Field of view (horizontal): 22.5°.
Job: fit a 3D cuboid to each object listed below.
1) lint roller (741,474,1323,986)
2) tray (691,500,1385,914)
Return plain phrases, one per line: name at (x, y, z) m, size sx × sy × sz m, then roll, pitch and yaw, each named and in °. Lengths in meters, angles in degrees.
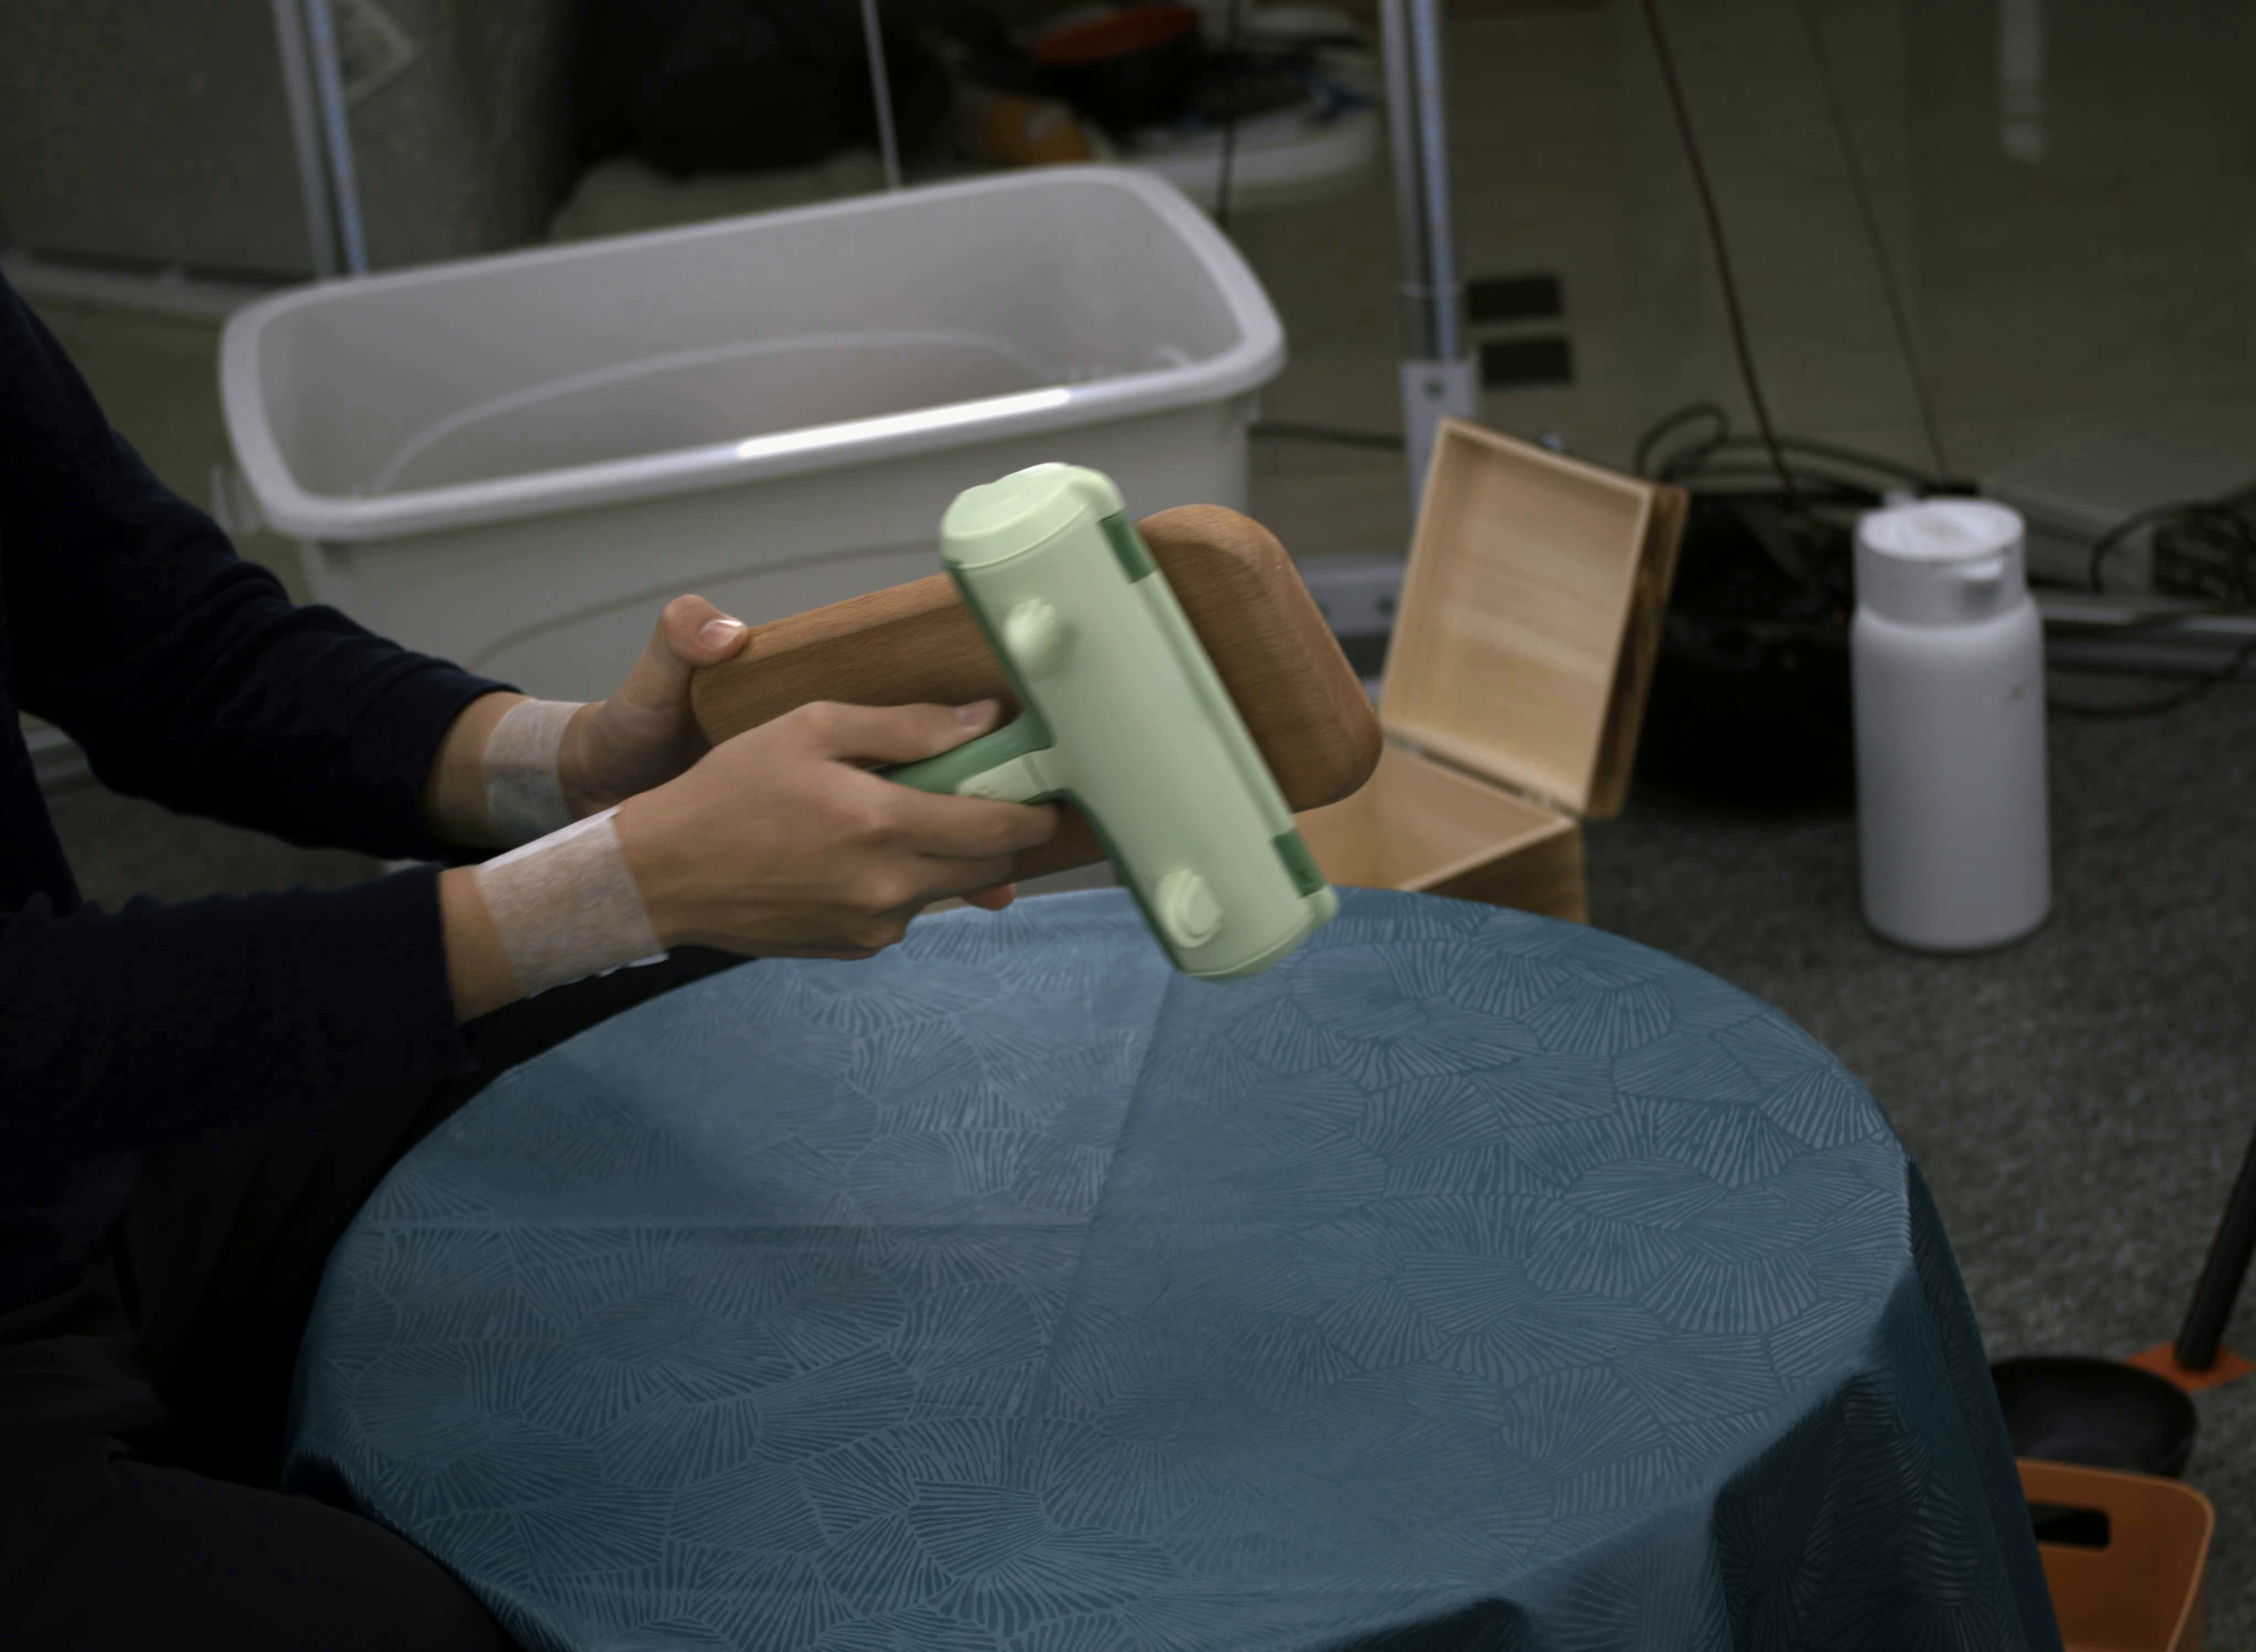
lint roller at (-0.054, -0.006, 1.964) m, size 0.183 × 0.201 × 0.081 m, roll -25°, pitch 27°, yaw 10°
tray at (-0.036, -0.038, 2.012) m, size 0.251 × 0.132 × 0.022 m, roll -15°, pitch 29°, yaw 31°
